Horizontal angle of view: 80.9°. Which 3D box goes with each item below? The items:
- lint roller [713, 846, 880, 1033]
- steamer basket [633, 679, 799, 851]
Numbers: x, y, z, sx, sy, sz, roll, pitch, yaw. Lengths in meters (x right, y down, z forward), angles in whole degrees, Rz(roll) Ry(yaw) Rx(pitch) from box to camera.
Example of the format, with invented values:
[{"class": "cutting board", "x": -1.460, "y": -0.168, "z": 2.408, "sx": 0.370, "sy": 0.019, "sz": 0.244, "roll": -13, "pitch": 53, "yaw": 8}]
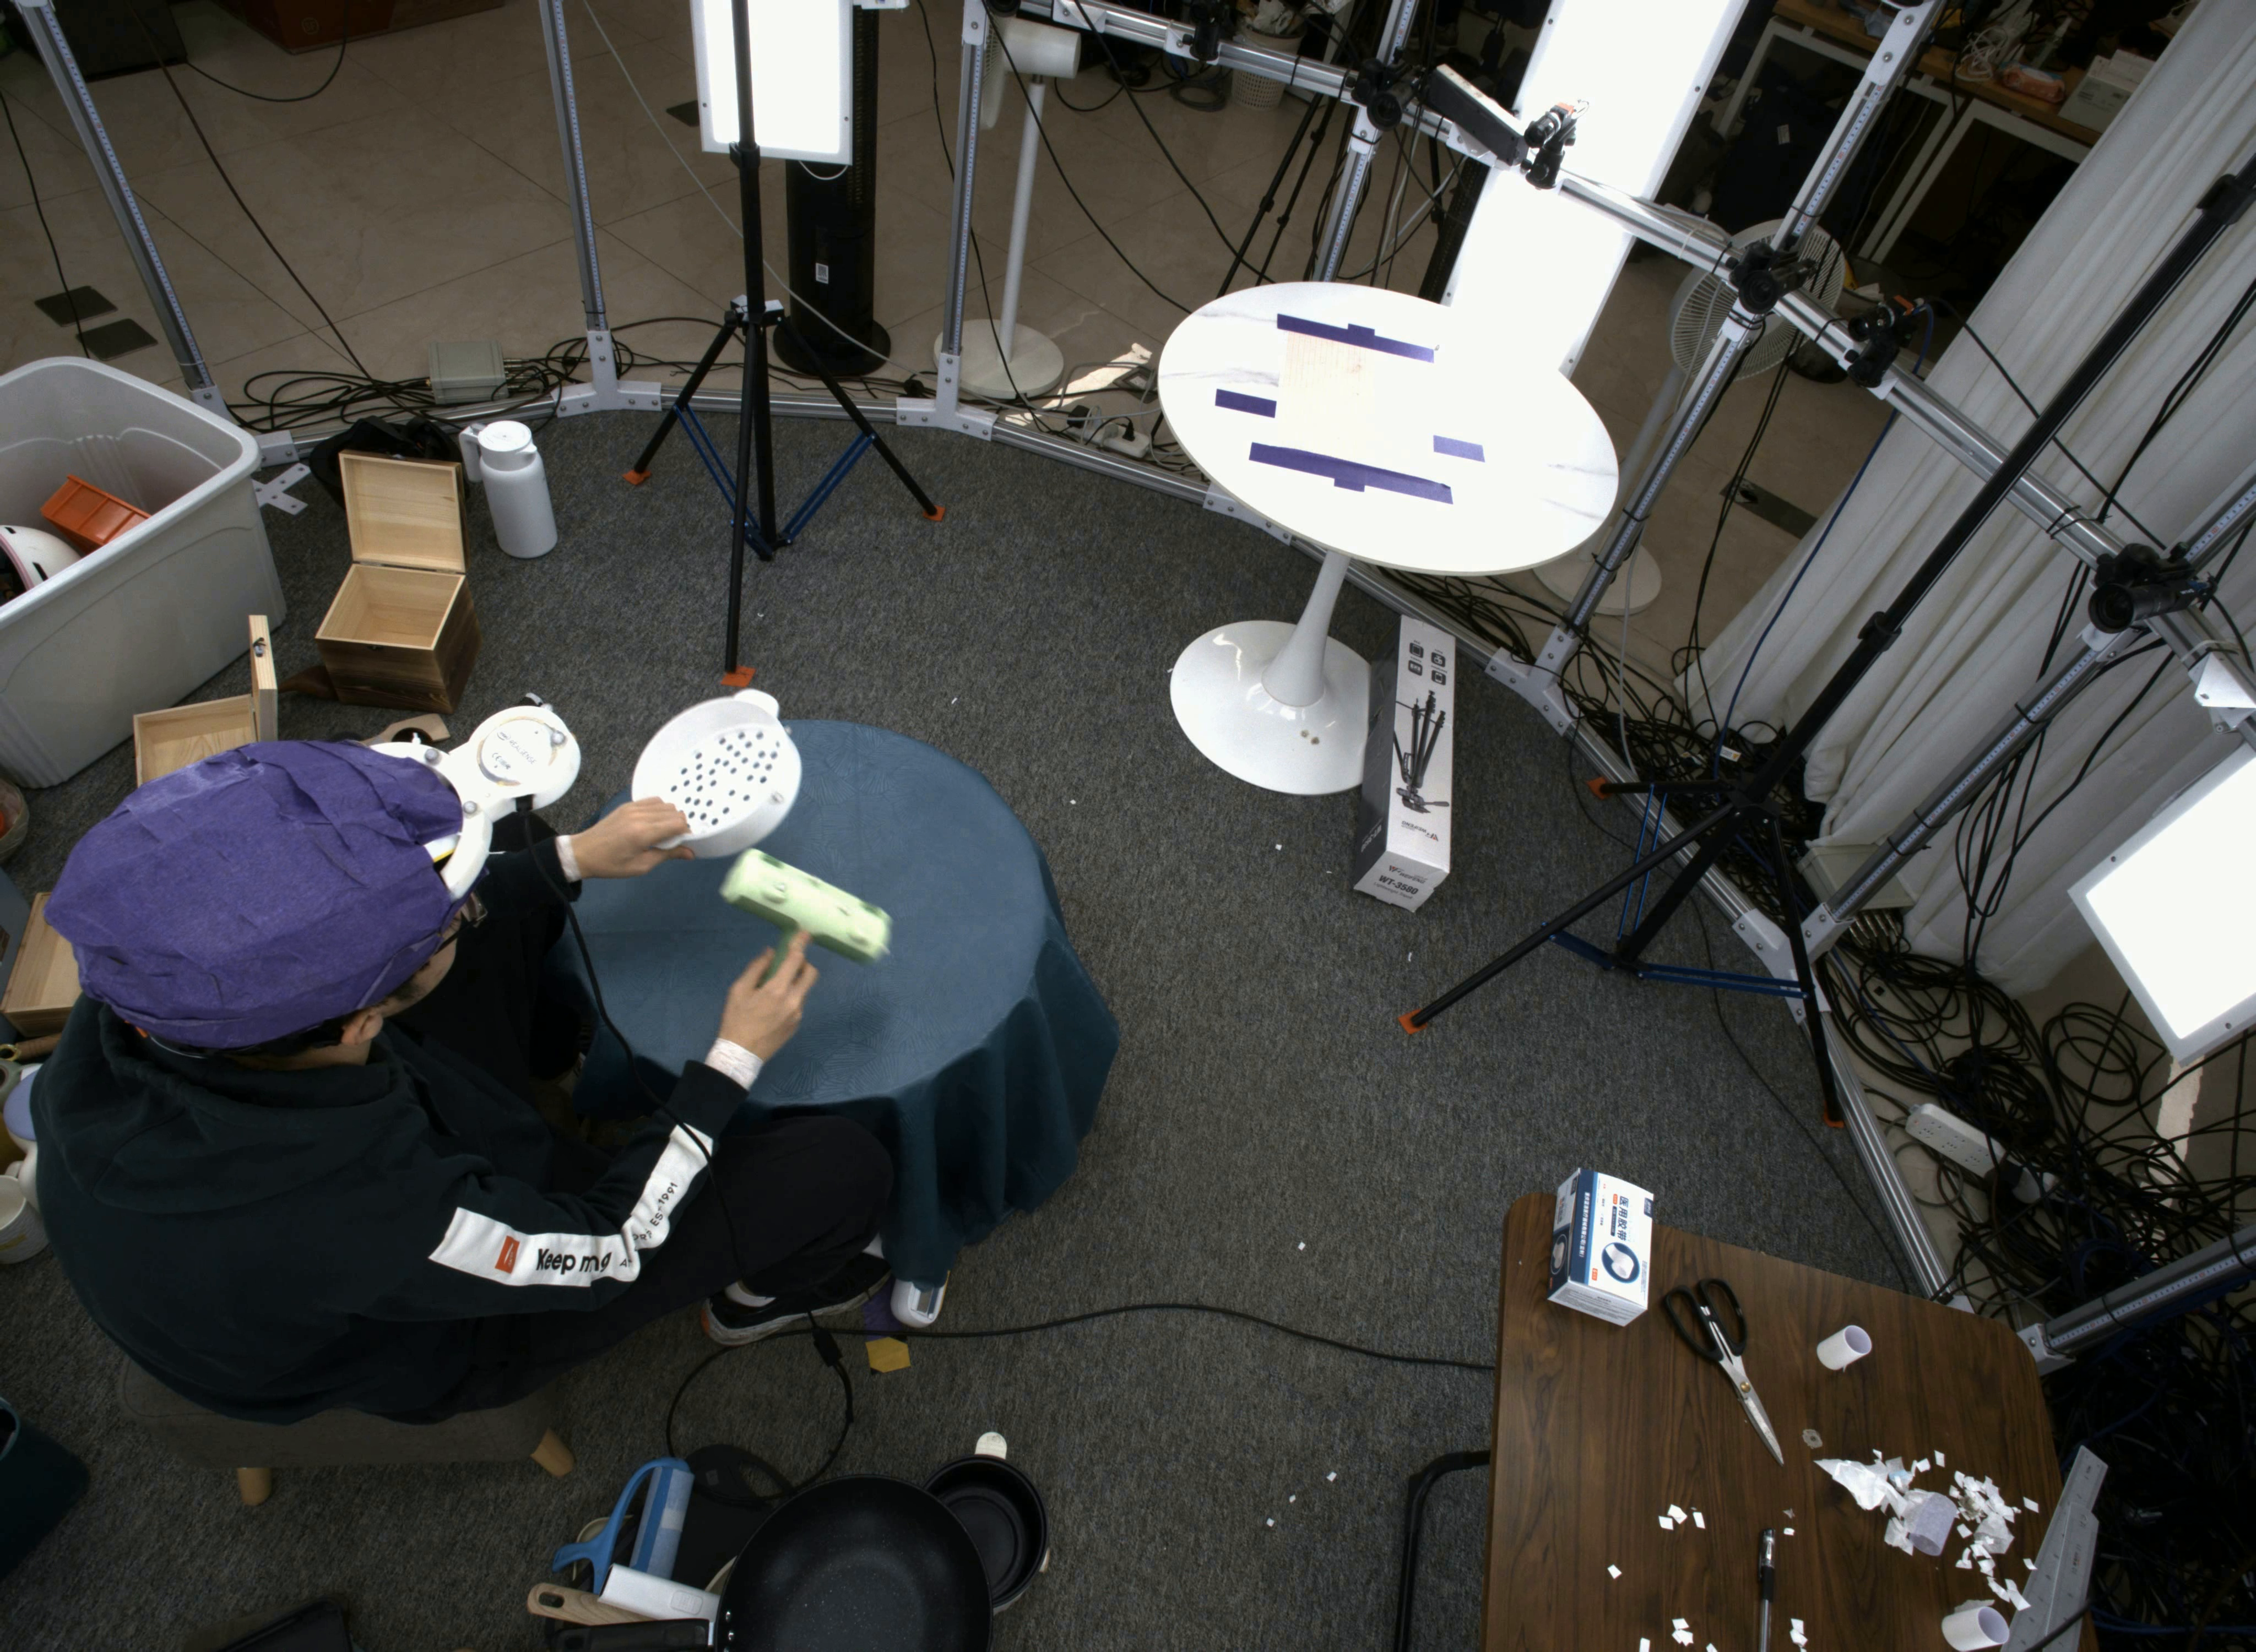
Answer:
[{"class": "lint roller", "x": -0.380, "y": 0.140, "z": 1.456, "sx": 0.205, "sy": 0.080, "sz": 0.182, "roll": 31, "pitch": 63, "yaw": -40}, {"class": "steamer basket", "x": -0.491, "y": -0.067, "z": 1.544, "sx": 0.195, "sy": 0.071, "sz": 0.230, "roll": 20, "pitch": 67, "yaw": 25}]
